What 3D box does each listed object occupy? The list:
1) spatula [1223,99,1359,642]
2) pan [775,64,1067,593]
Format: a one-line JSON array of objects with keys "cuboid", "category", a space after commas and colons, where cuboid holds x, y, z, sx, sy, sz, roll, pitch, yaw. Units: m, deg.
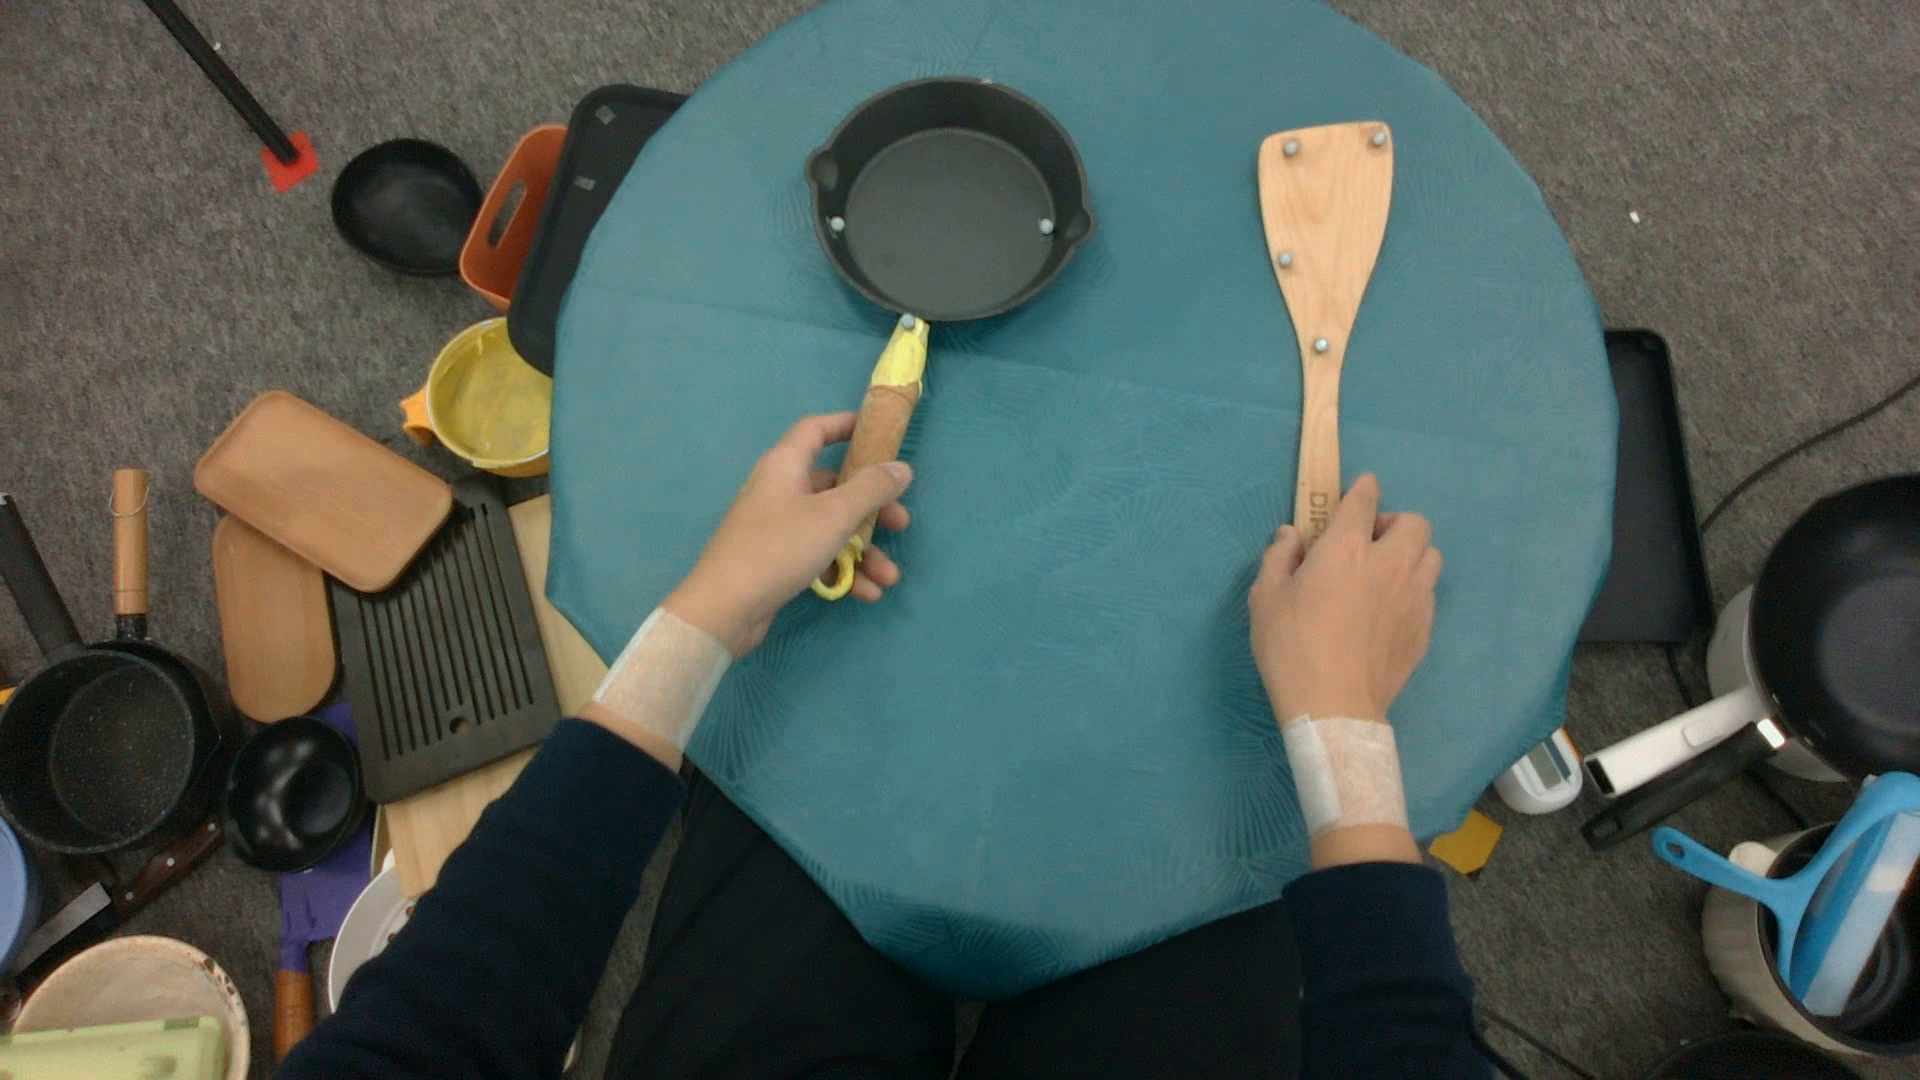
[{"cuboid": [0.188, -0.104, 0.773, 0.080, 0.016, 0.328, 2, 72, 3], "category": "spatula"}, {"cuboid": [-0.043, -0.121, 0.758, 0.169, 0.049, 0.325, 14, 72, 3], "category": "pan"}]
